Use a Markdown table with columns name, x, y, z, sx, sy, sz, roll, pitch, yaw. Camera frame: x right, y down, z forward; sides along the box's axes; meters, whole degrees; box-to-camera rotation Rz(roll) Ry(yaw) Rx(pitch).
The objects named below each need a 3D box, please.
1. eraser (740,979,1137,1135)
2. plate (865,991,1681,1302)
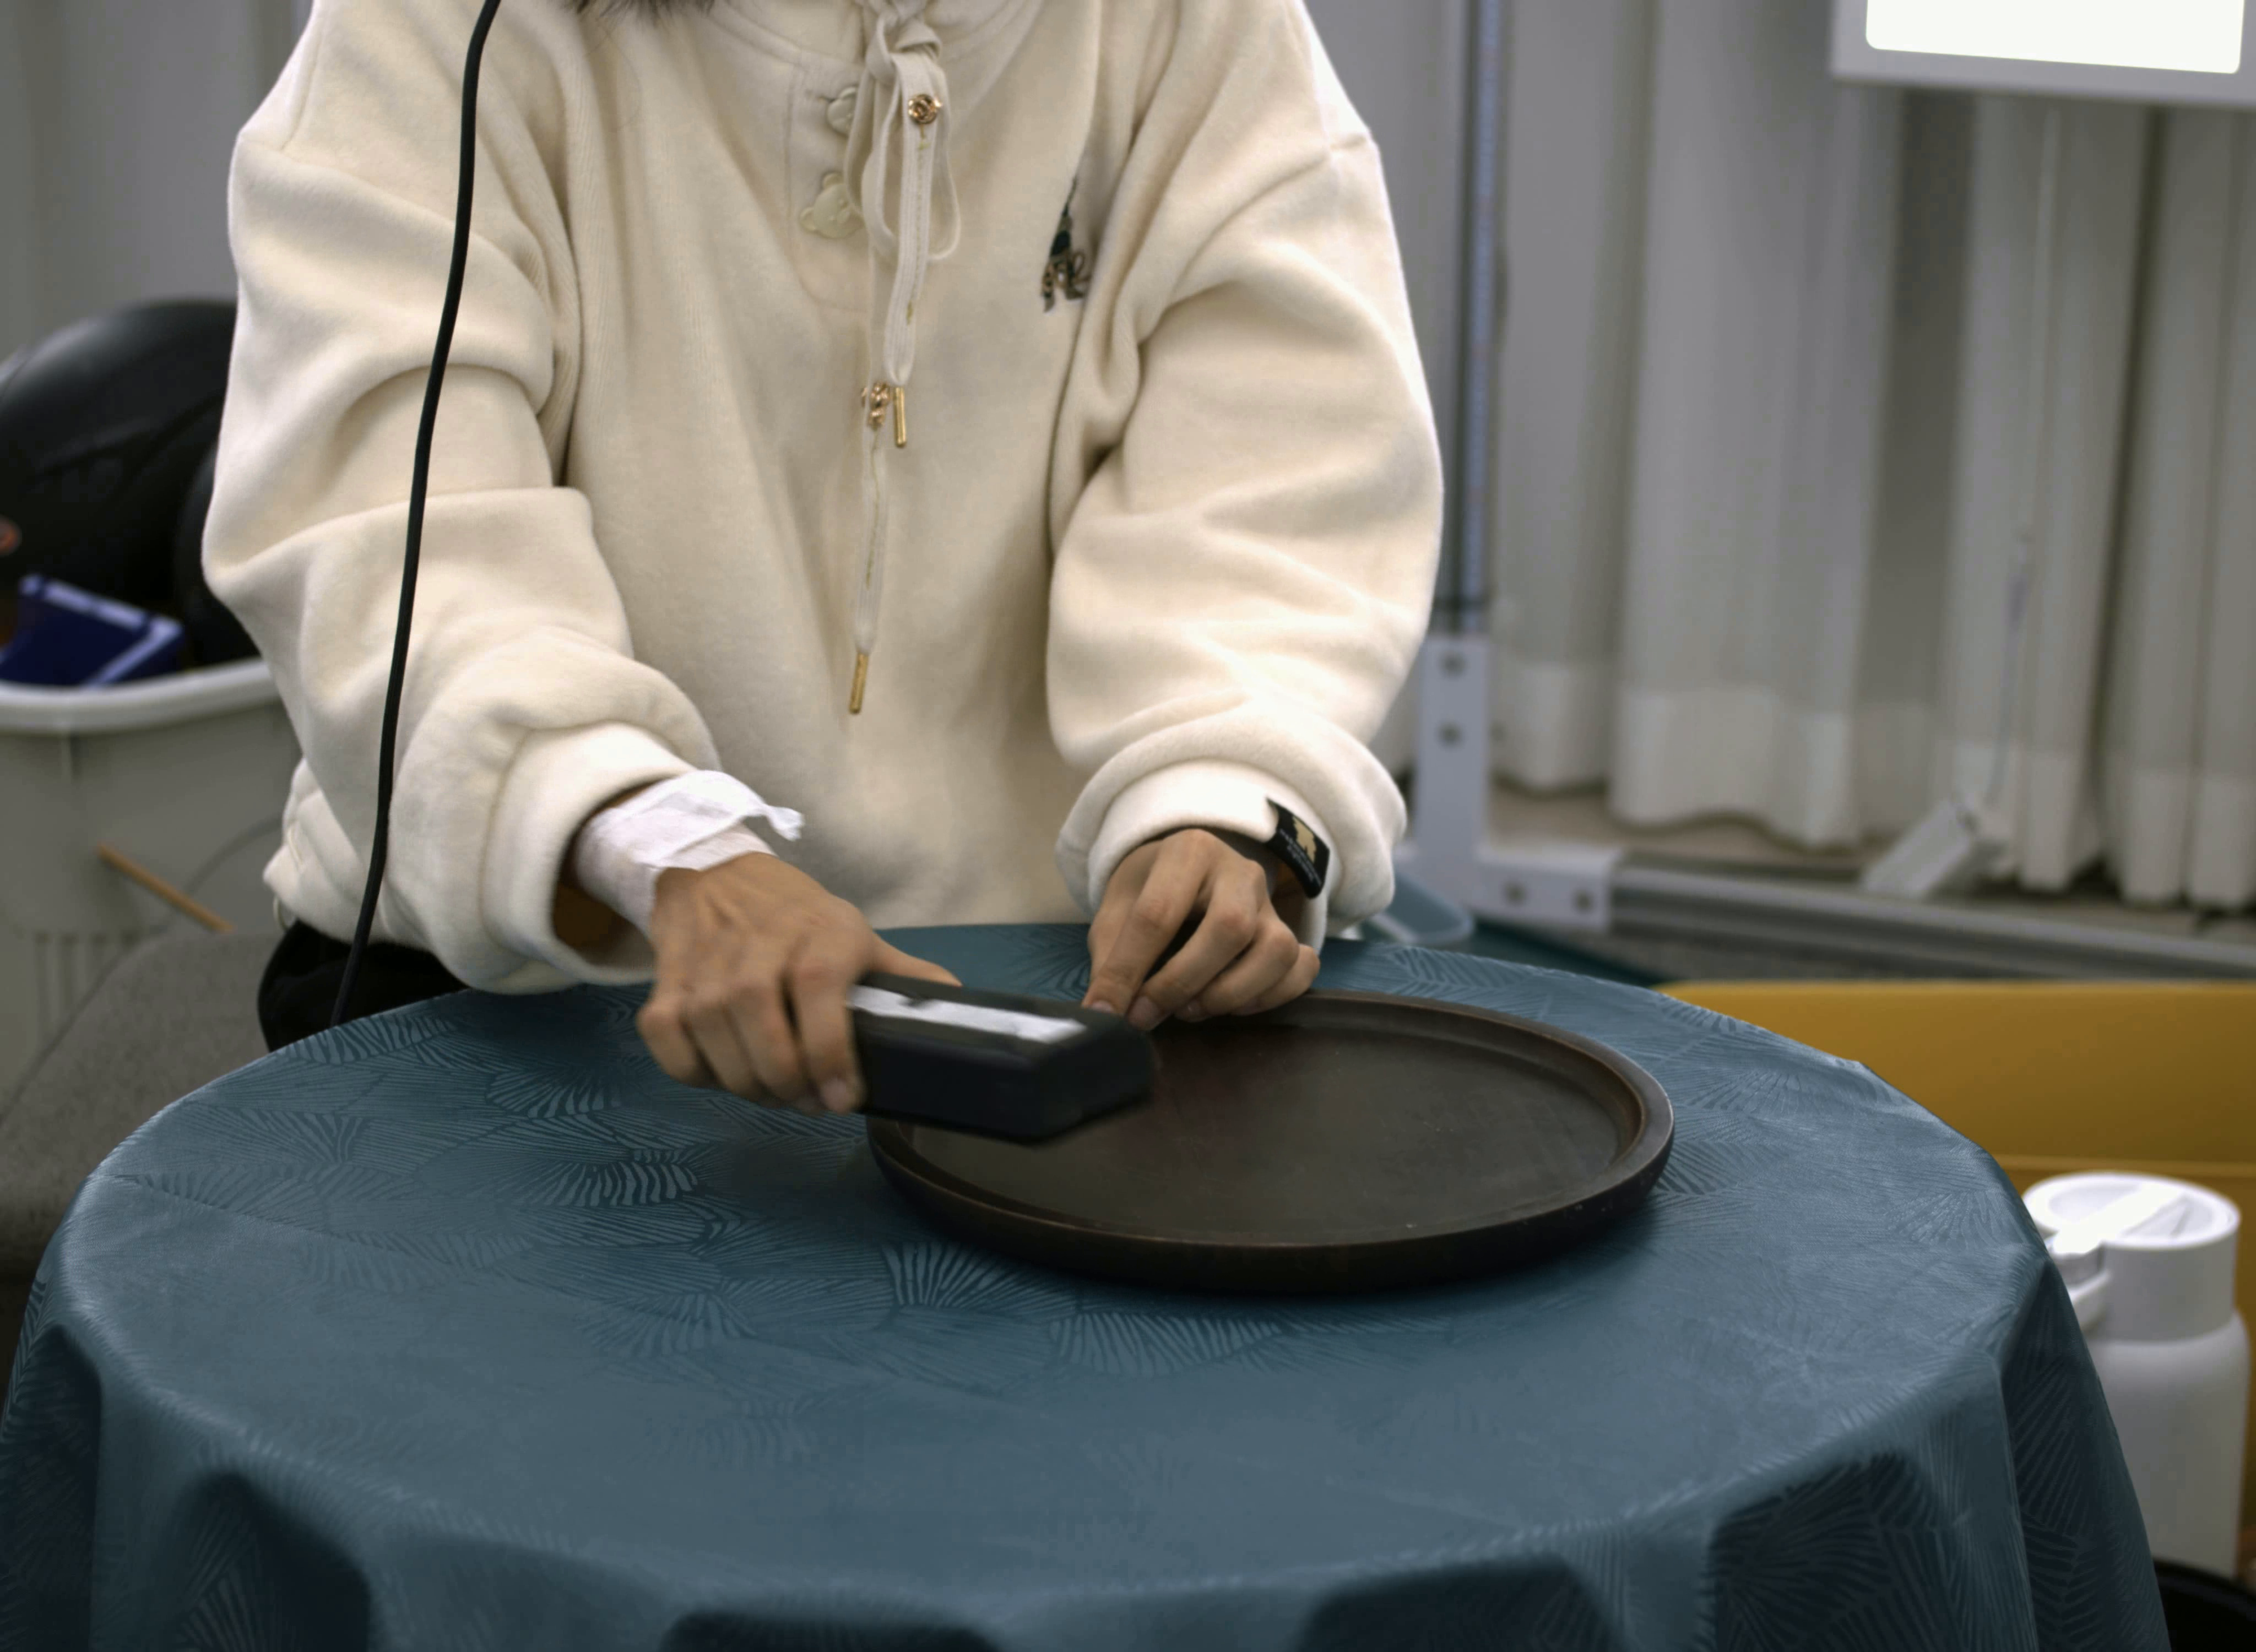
| name | x | y | z | sx | sy | sz | roll | pitch | yaw |
| --- | --- | --- | --- | --- | --- | --- | --- | --- | --- |
| eraser | -0.057 | 0.069 | 1.588 | 0.124 | 0.030 | 0.054 | 4 | 17 | 45 |
| plate | 0.045 | 0.096 | 1.635 | 0.254 | 0.029 | 0.253 | 1 | 17 | 0 |
